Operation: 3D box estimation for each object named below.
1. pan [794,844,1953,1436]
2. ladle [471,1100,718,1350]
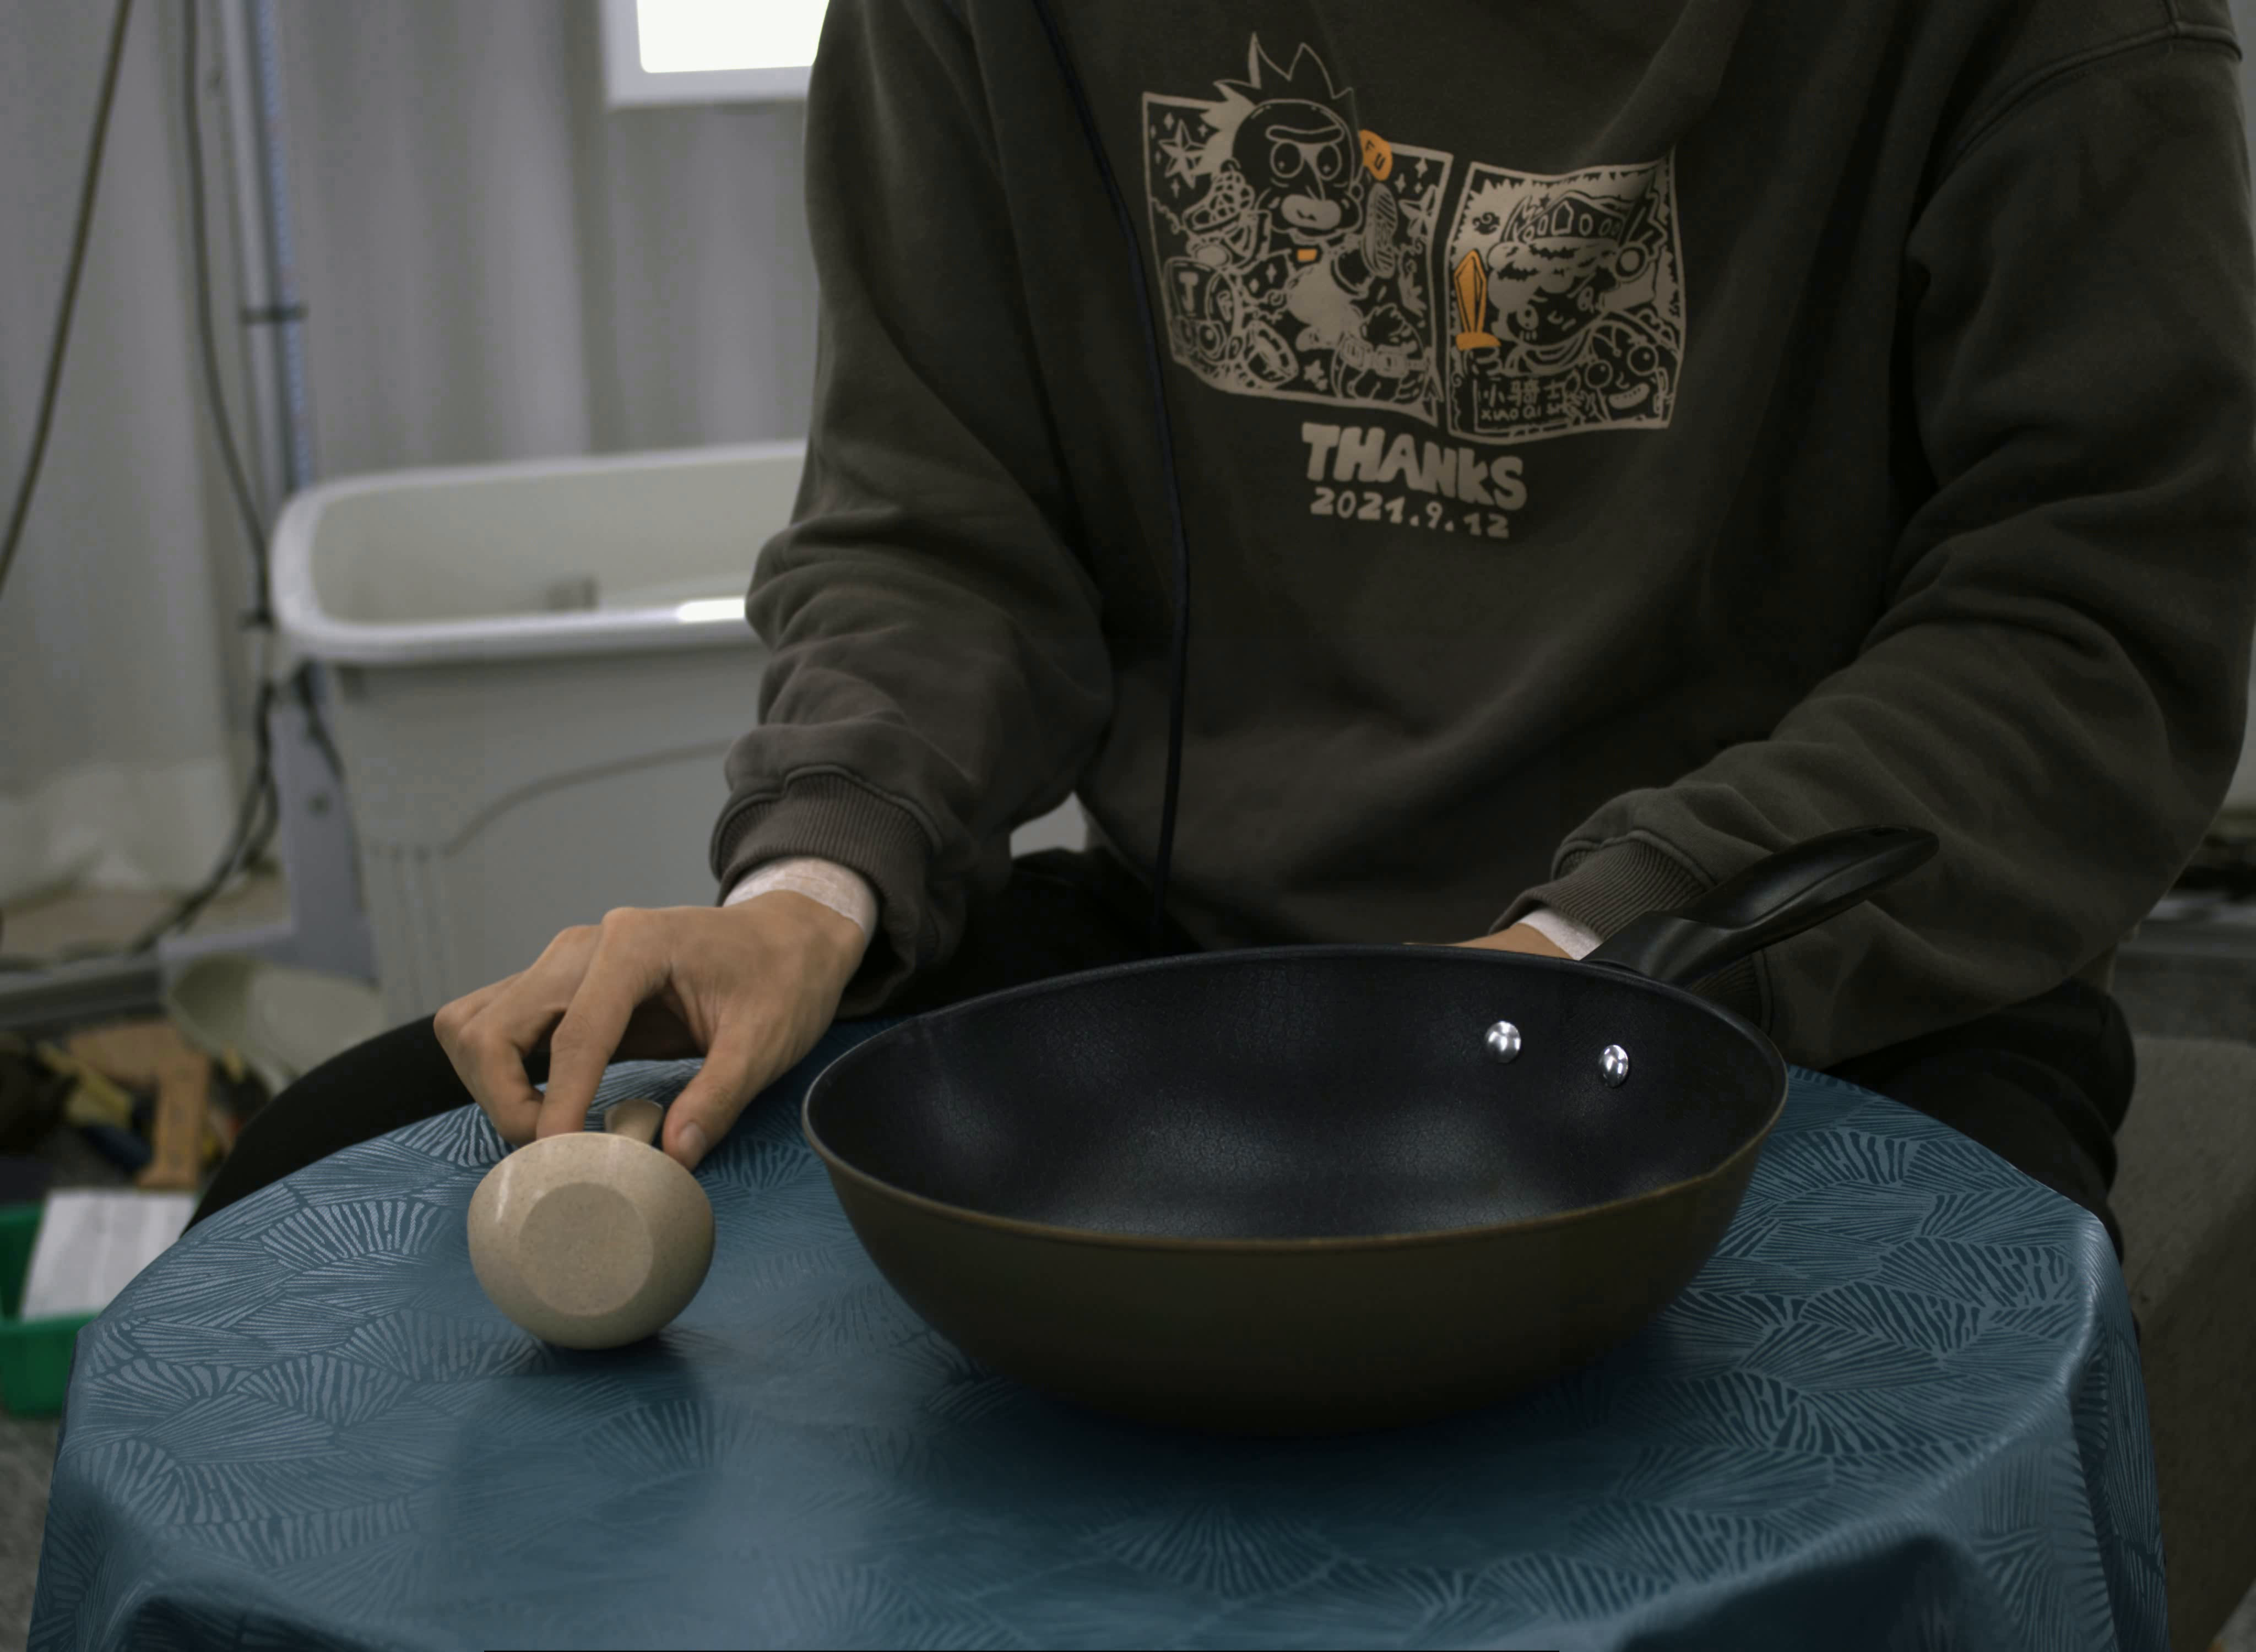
[{"bbox_3d":[0.105,0.090,1.635,0.289,0.086,0.462,10,19,40],"label":"pan"},{"bbox_3d":[-0.164,0.093,1.695,0.072,0.072,0.256,-8,15,-3],"label":"ladle"}]
